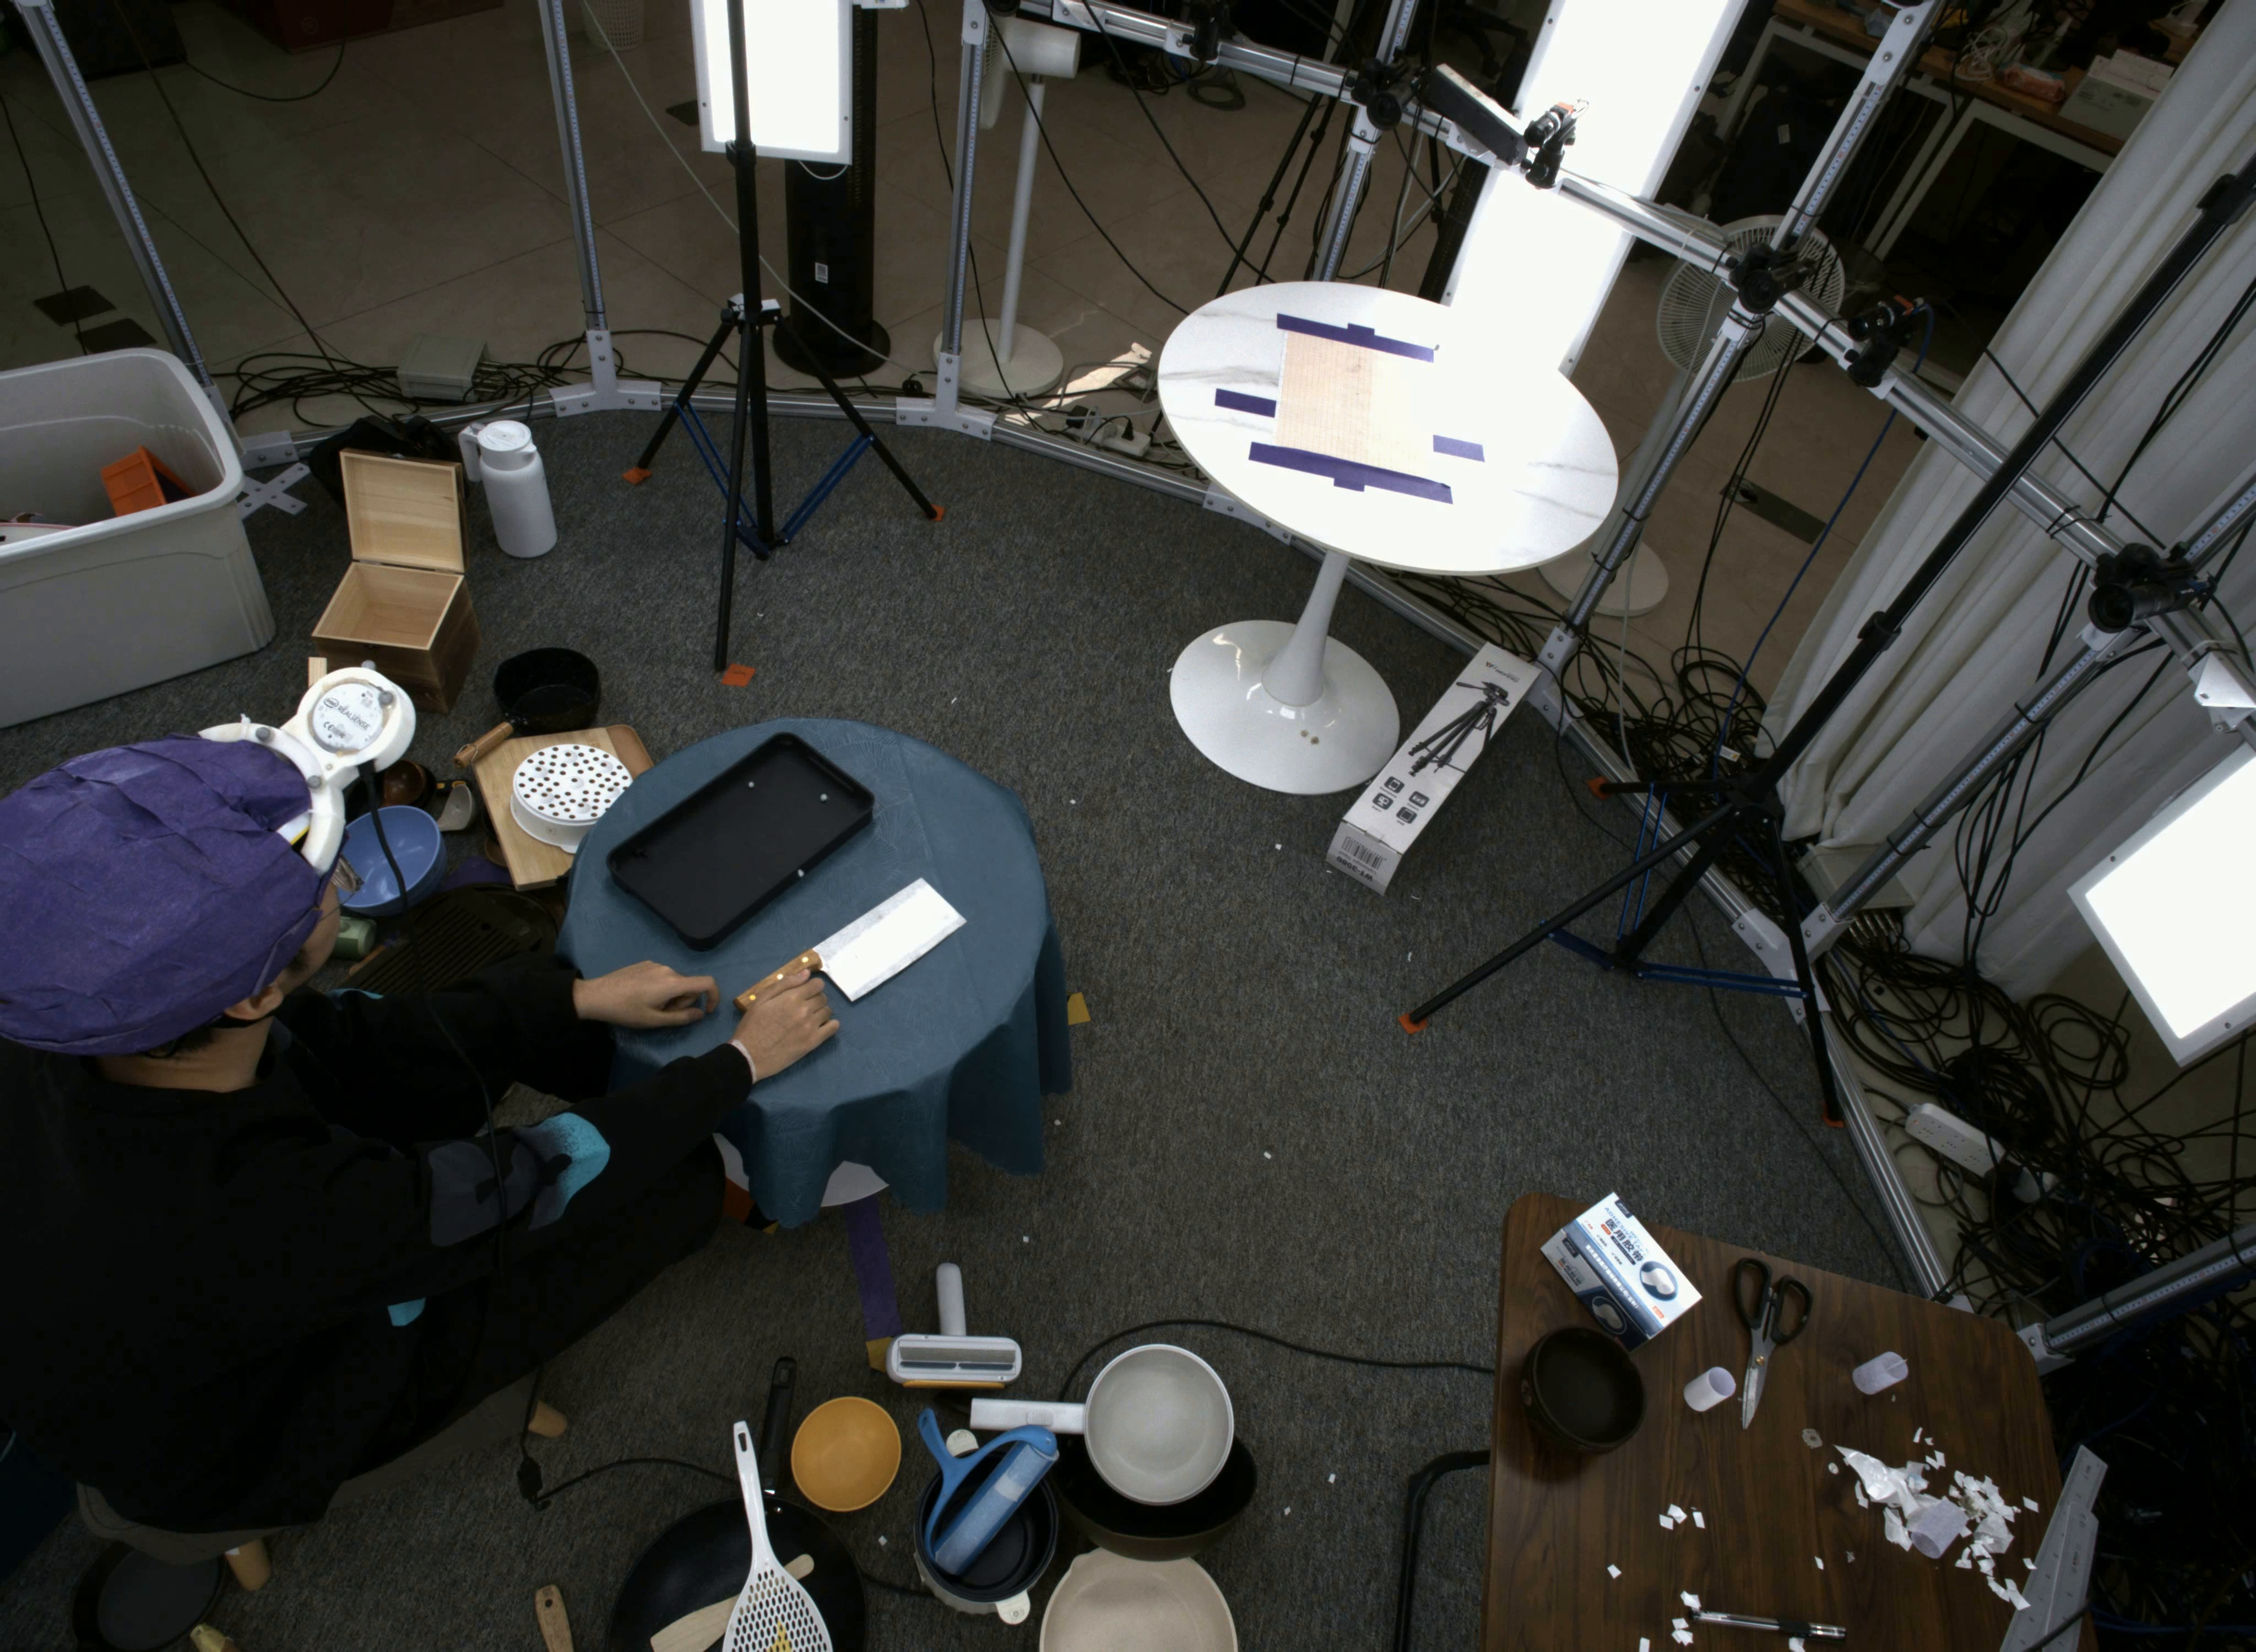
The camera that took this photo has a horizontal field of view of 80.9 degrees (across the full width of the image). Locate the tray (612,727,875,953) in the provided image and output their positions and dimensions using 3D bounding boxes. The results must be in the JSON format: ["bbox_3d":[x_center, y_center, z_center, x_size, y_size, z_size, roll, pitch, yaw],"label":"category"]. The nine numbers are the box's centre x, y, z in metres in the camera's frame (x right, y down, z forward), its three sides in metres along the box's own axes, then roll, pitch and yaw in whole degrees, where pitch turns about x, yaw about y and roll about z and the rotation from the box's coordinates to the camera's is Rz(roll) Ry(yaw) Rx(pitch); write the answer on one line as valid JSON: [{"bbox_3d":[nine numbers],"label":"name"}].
[{"bbox_3d":[-0.491,0.010,1.665,0.181,0.038,0.317,35,53,11],"label":"tray"}]

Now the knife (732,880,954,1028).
[{"bbox_3d":[-0.341,0.165,1.602,0.091,0.021,0.306,42,52,16],"label":"knife"}]
